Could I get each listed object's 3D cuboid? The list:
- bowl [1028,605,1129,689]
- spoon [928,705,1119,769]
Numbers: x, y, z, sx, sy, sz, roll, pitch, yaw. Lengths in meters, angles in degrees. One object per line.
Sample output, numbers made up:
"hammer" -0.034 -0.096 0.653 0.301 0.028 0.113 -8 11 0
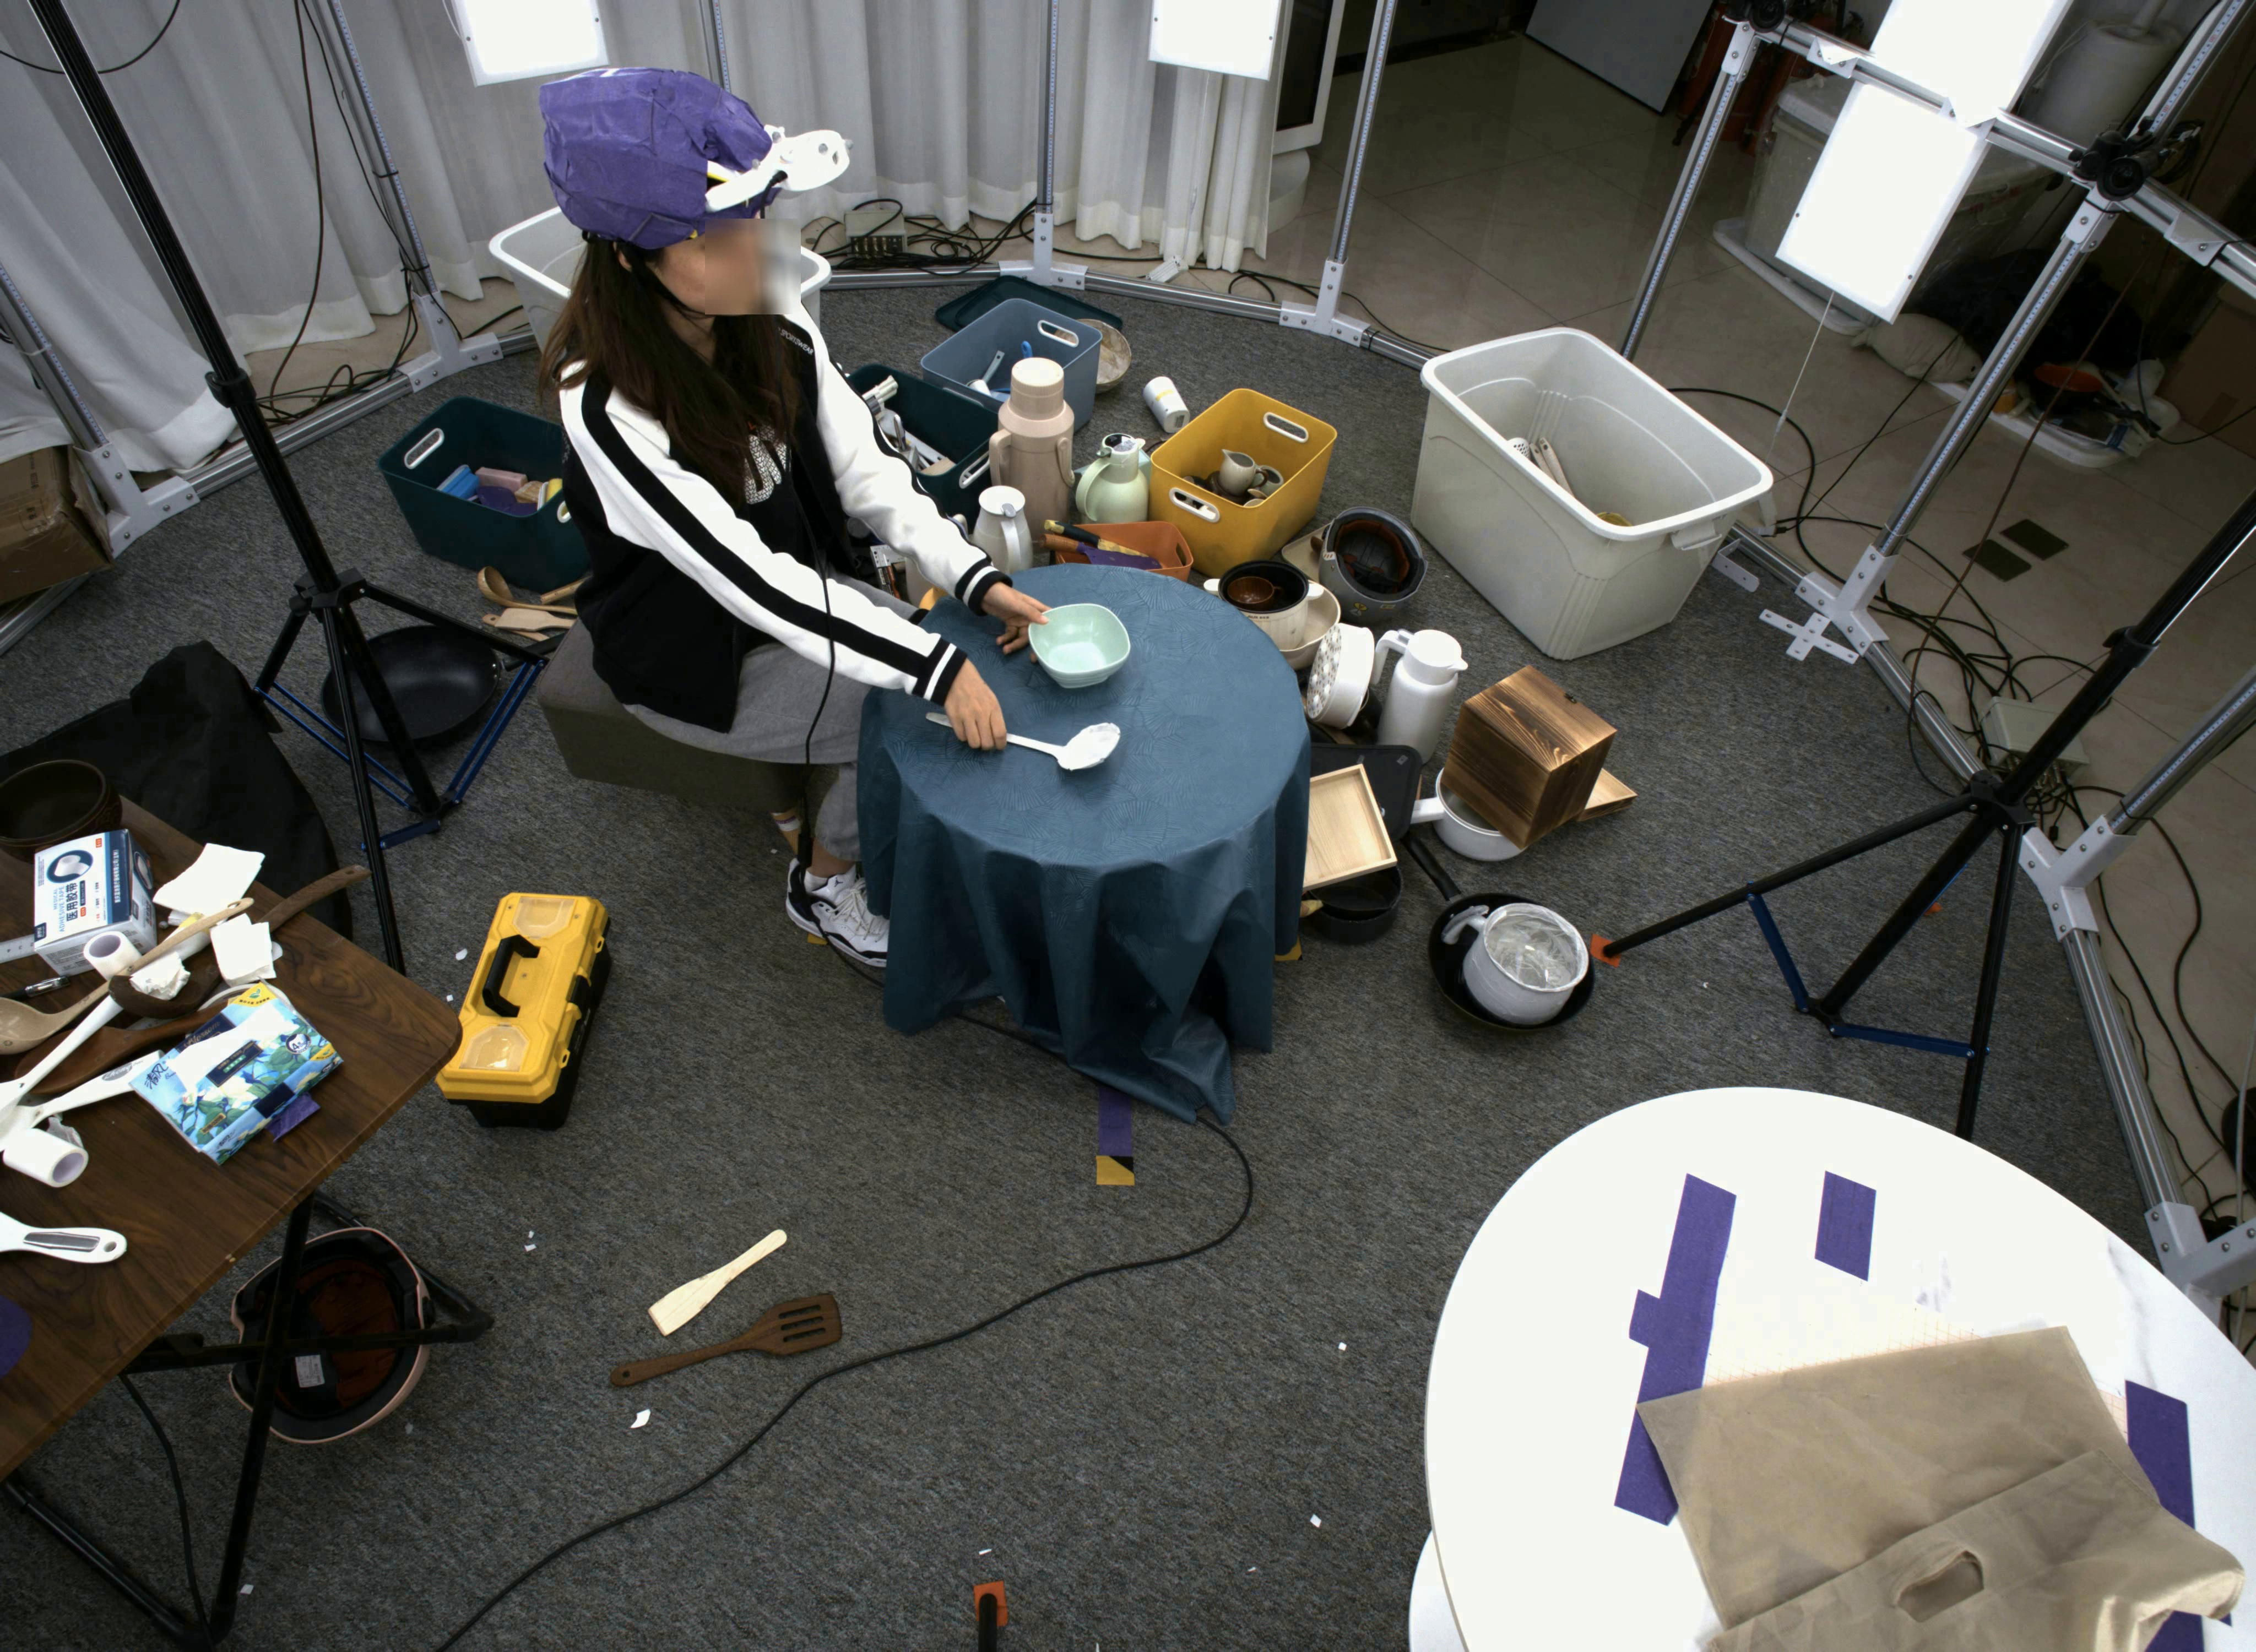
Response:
"bowl" -0.072 -0.249 1.846 0.151 0.057 0.155 2 49 -3
"spoon" -0.145 -0.141 1.746 0.279 0.058 0.102 19 45 13
